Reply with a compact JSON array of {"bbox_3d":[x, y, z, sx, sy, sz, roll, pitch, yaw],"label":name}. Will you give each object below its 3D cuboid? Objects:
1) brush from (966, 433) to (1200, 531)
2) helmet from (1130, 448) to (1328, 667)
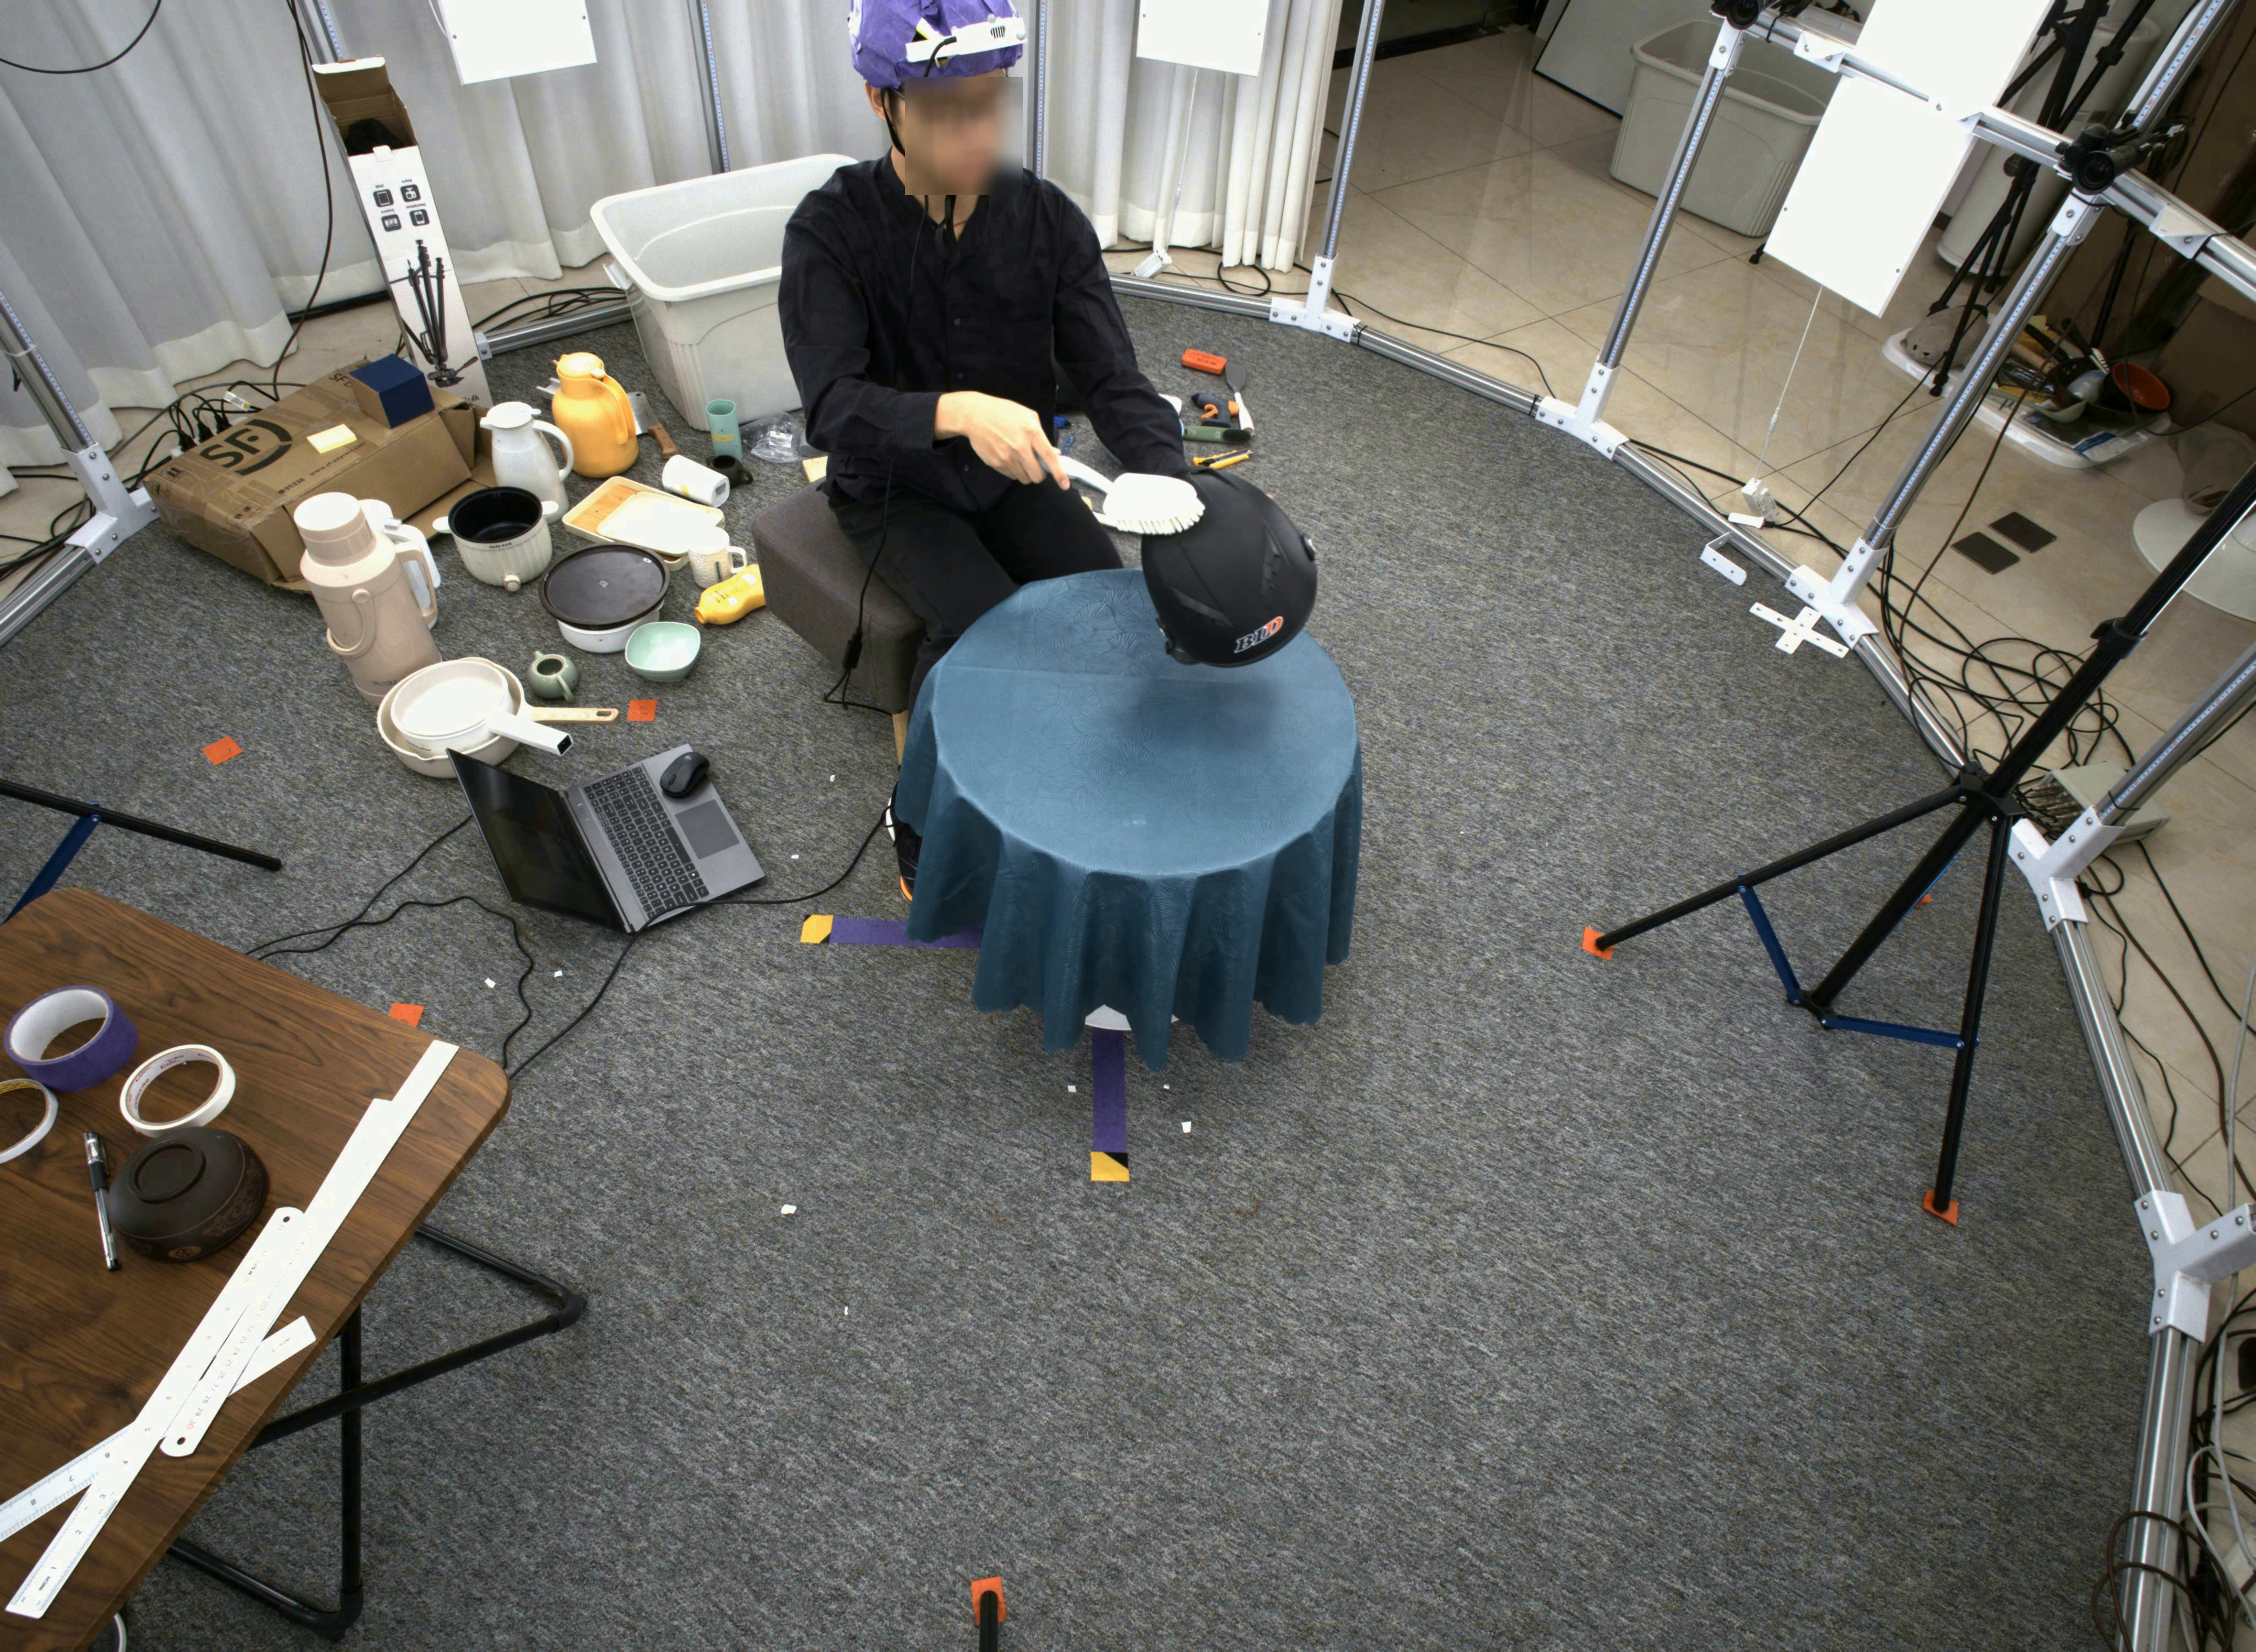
[{"bbox_3d":[-0.057,-0.444,1.674,0.328,0.083,0.084,18,33,19],"label":"brush"},{"bbox_3d":[0.117,-0.357,1.683,0.246,0.169,0.283,-29,53,12],"label":"helmet"}]
